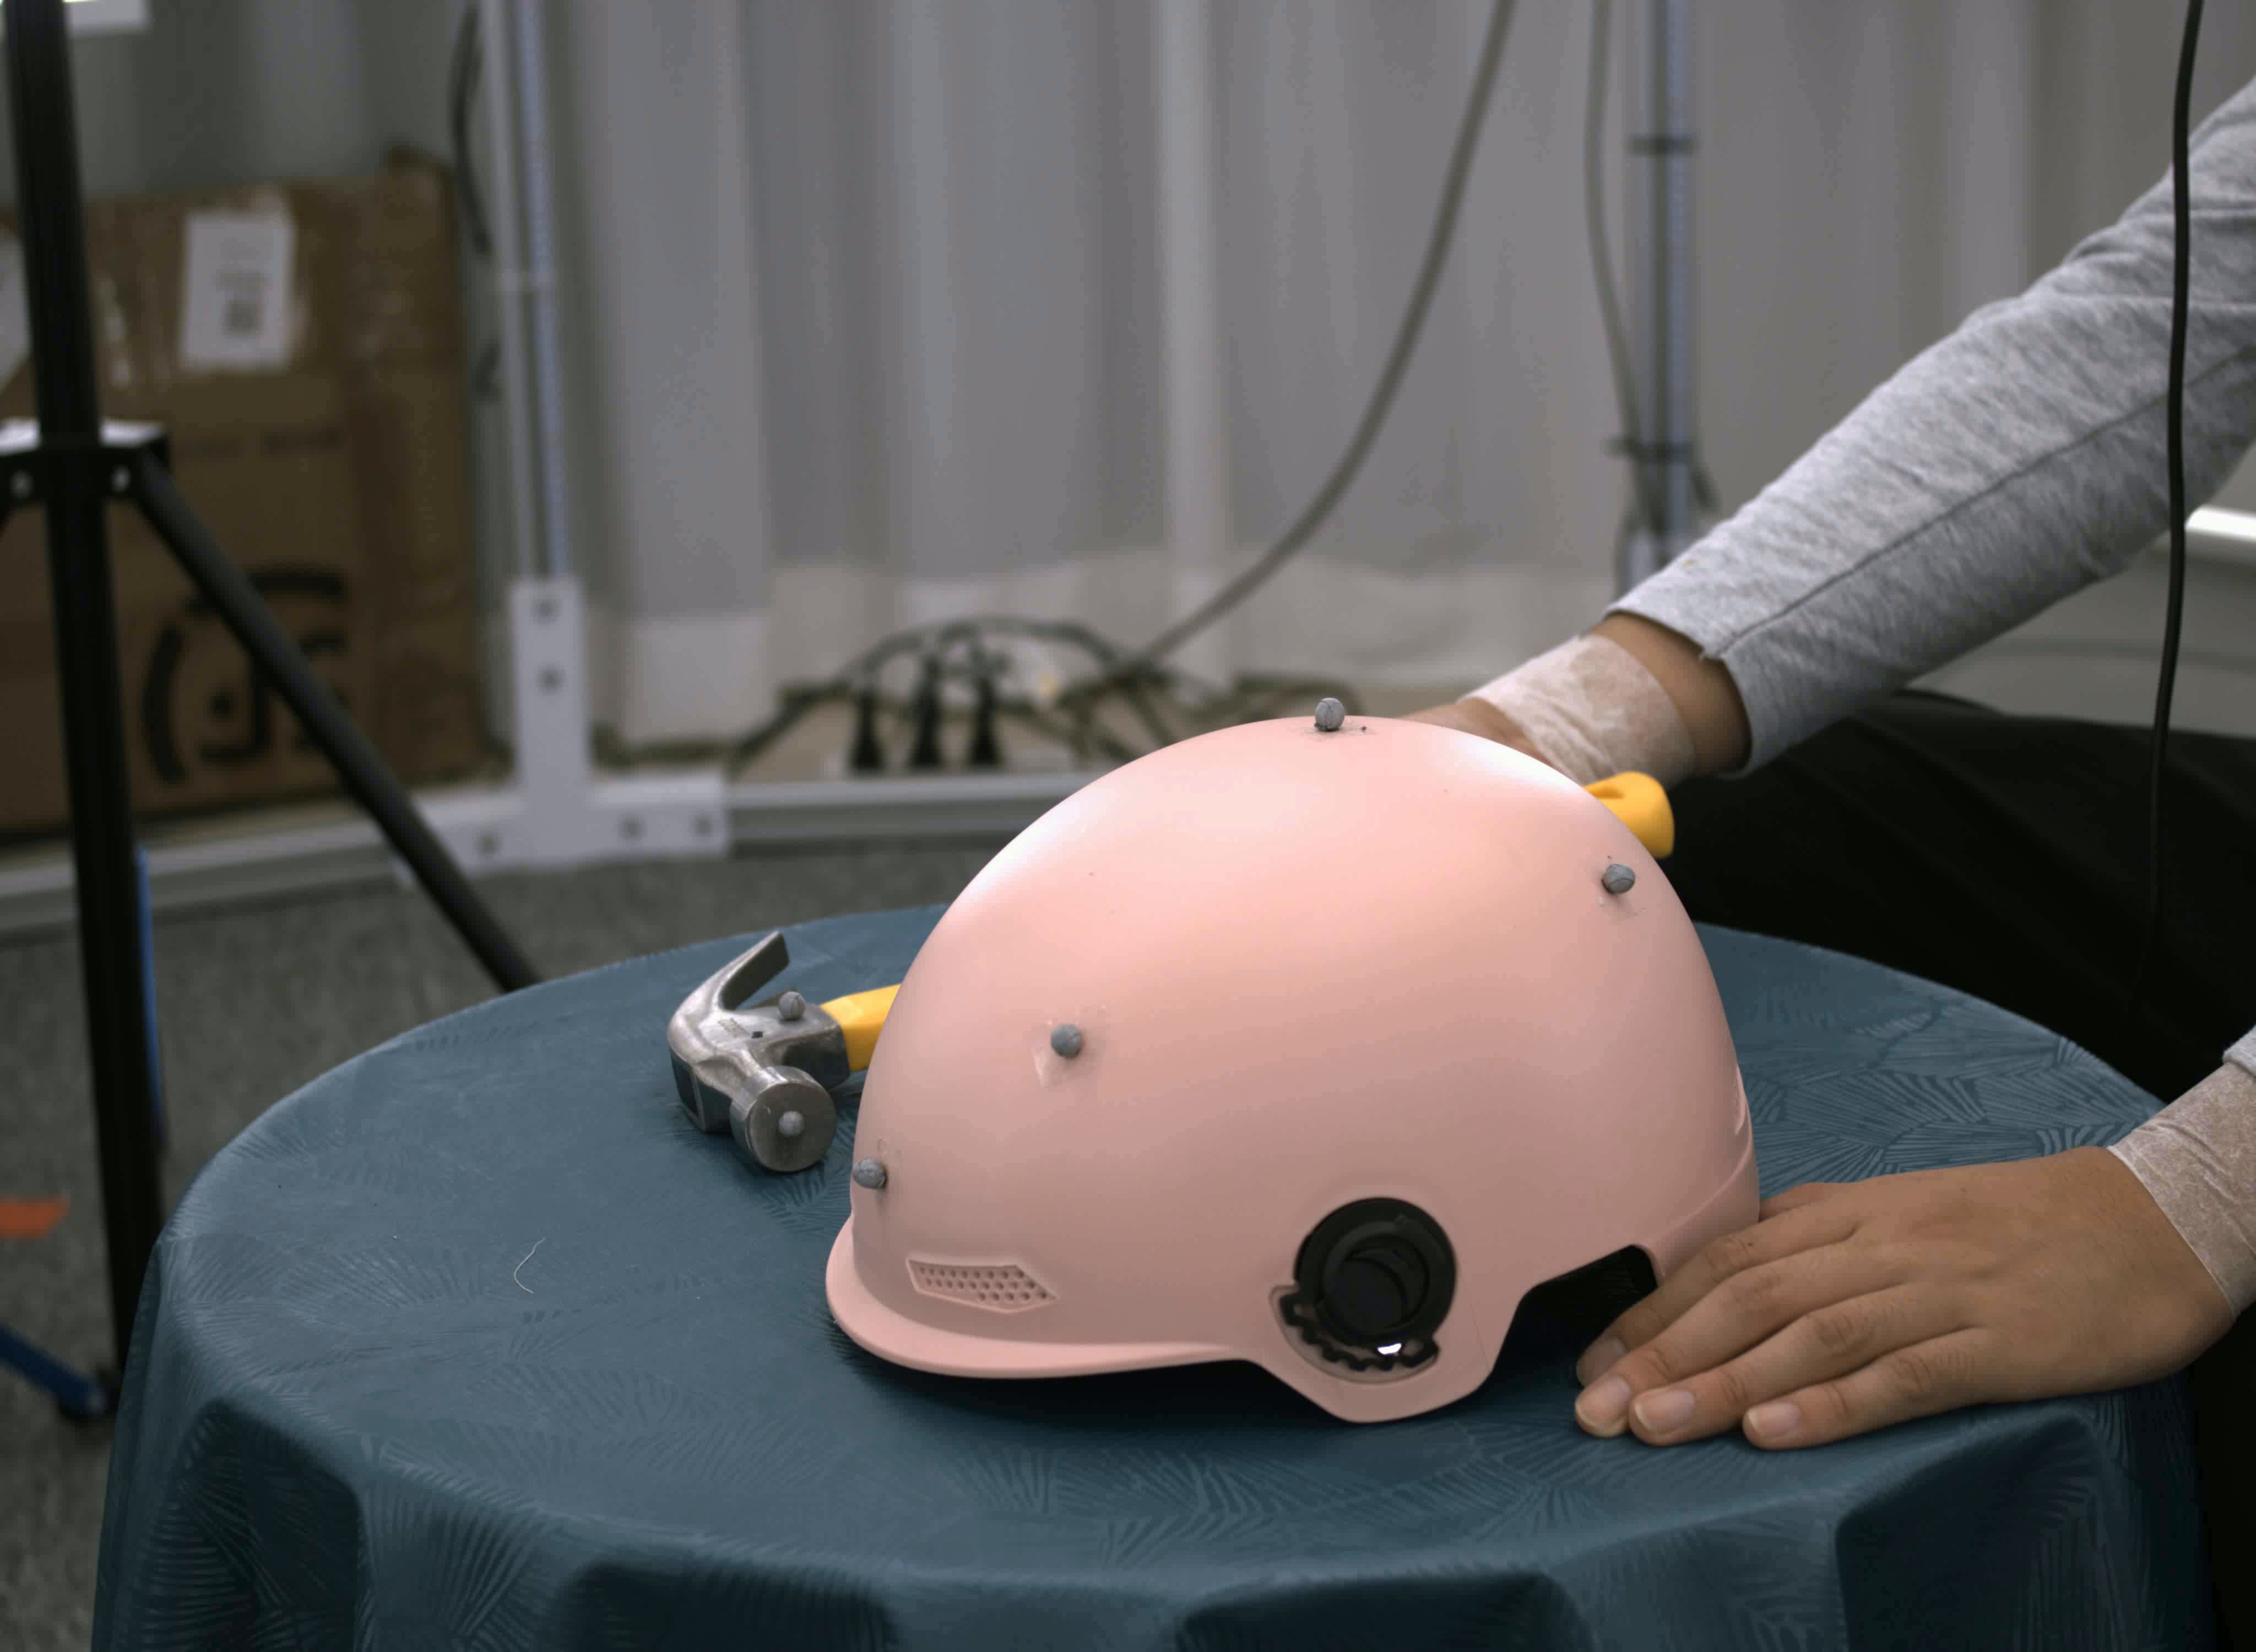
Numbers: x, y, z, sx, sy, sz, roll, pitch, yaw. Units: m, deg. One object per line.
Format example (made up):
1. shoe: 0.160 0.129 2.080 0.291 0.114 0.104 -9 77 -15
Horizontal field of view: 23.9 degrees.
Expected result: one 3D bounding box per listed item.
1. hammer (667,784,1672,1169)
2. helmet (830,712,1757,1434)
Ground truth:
1. hammer: 0.017 0.038 1.682 0.333 0.032 0.133 -14 16 -15
2. helmet: 0.041 0.055 1.461 0.261 0.158 0.238 -13 18 -20
